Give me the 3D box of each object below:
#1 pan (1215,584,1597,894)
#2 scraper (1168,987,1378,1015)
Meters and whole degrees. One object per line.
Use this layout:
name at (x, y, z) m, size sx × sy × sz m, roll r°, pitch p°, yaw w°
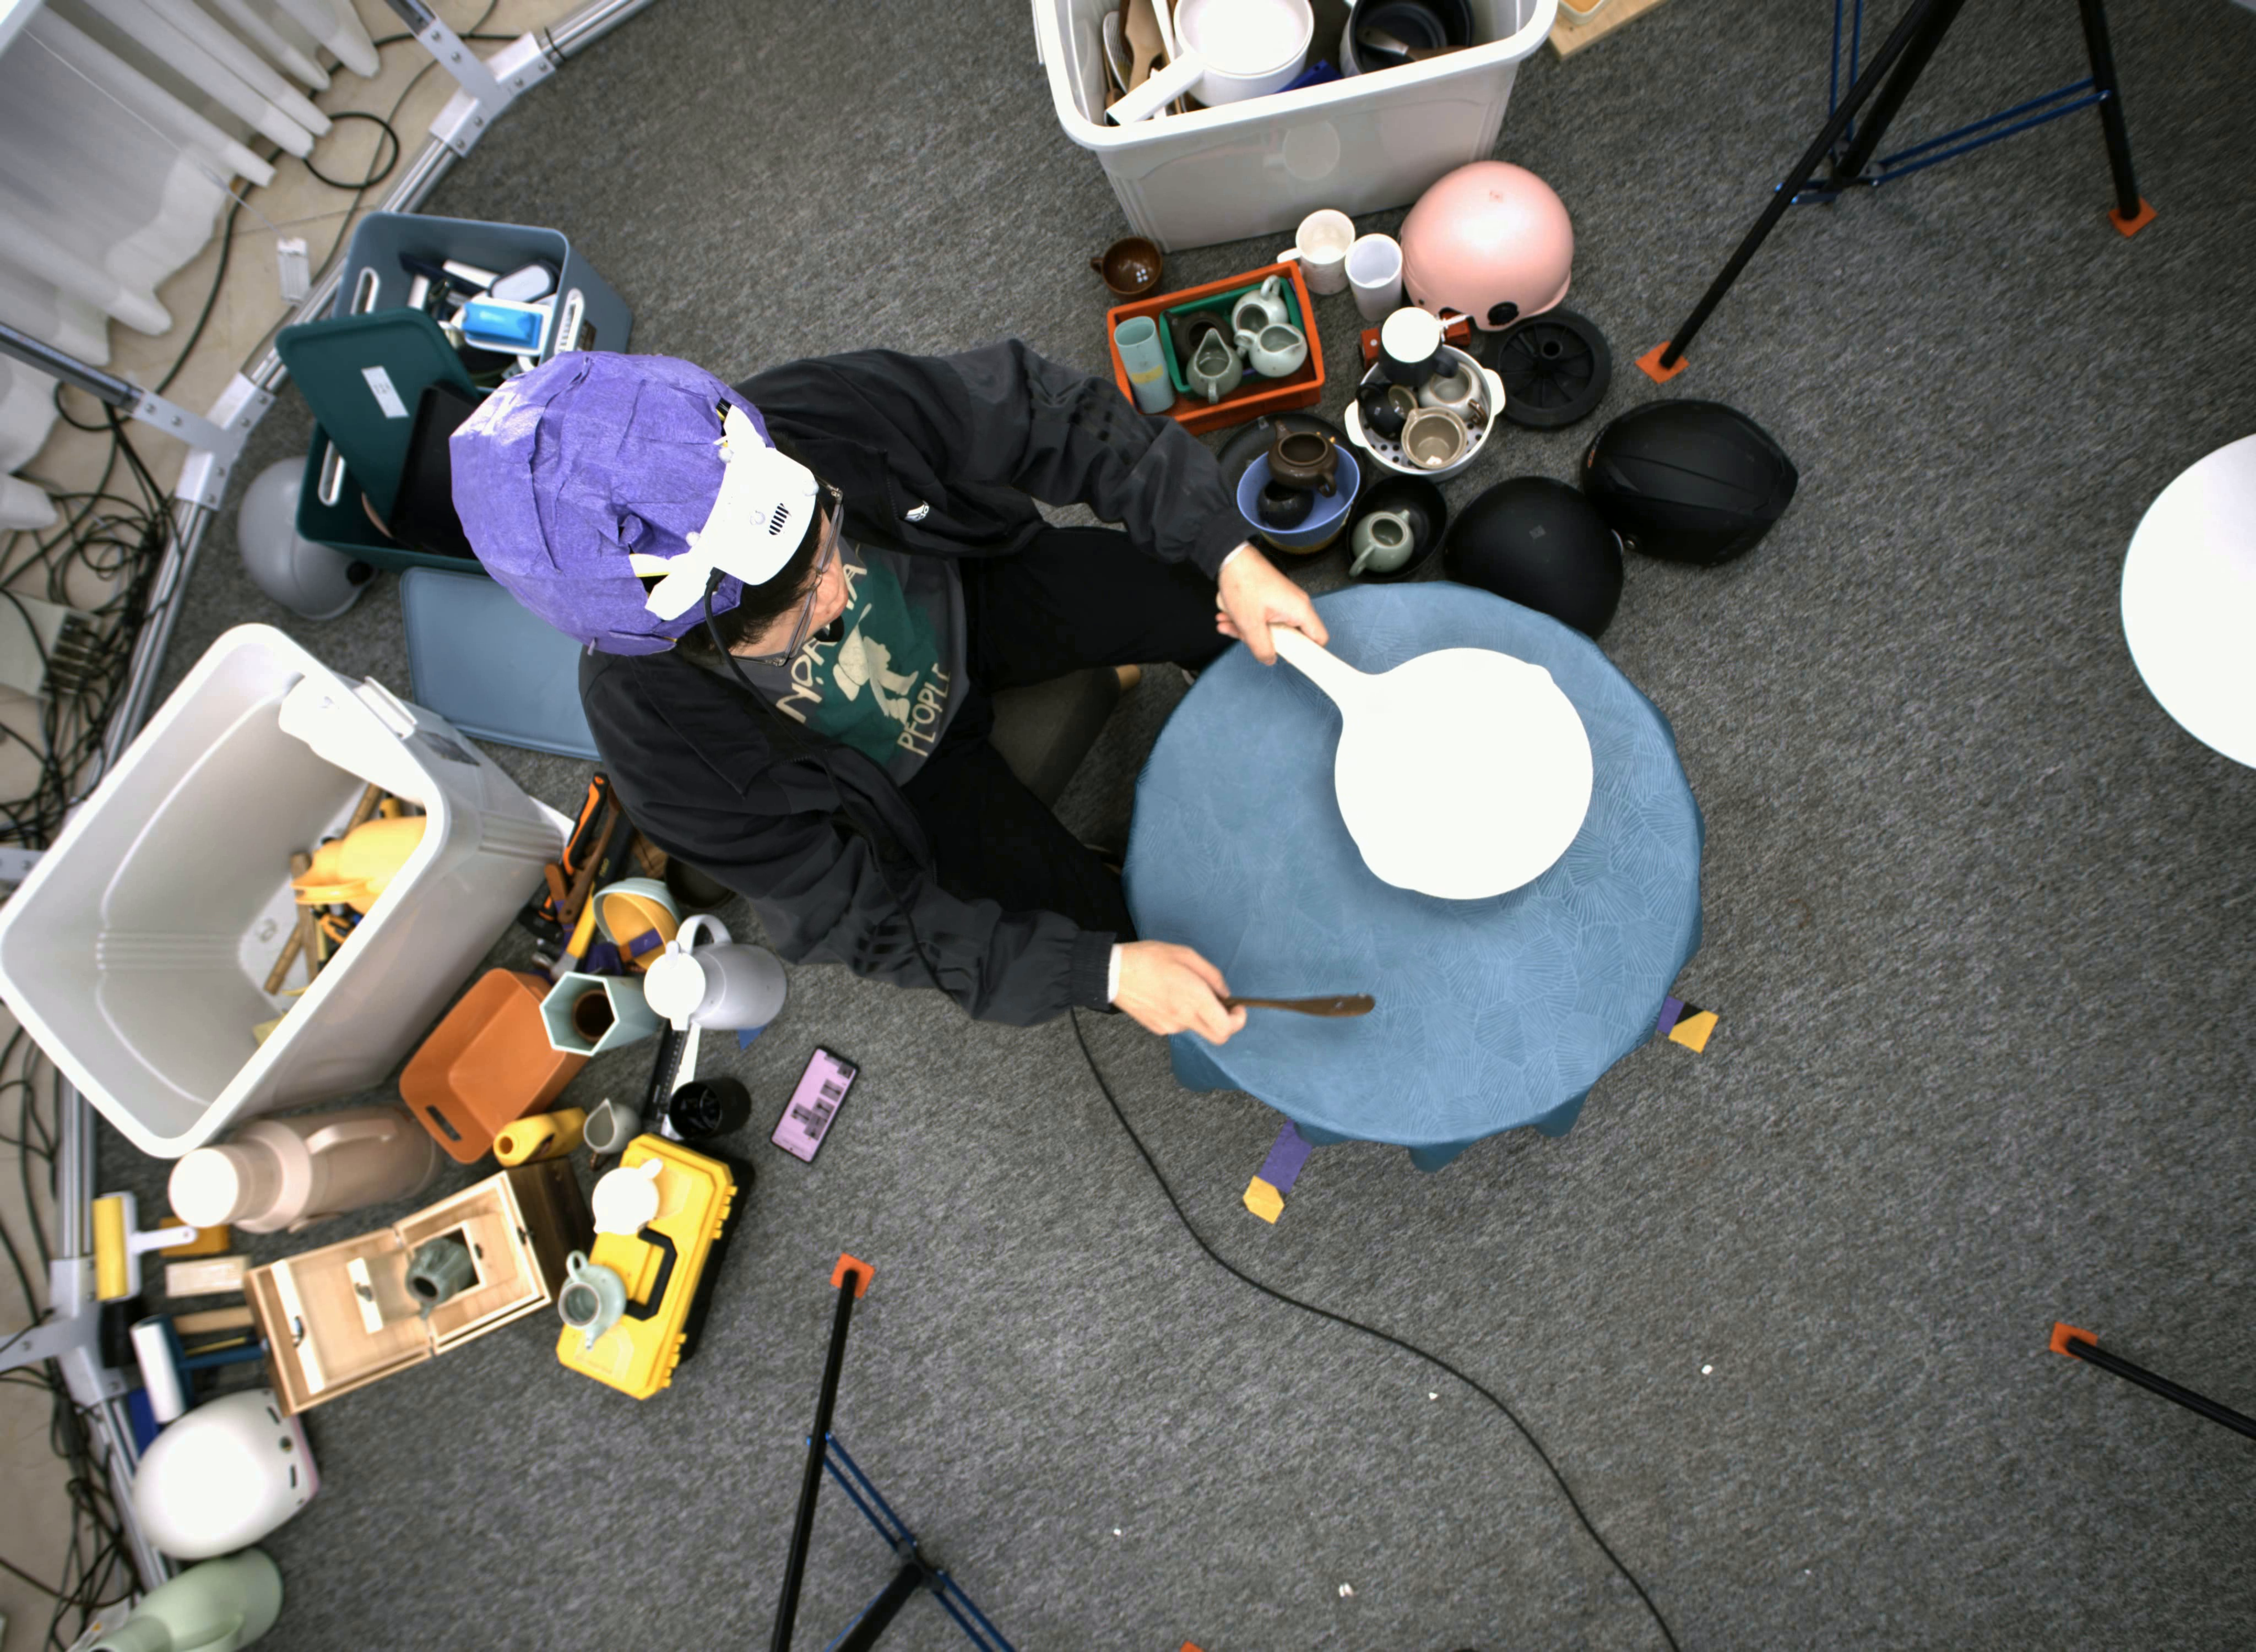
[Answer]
pan at (0.273, -0.112, 1.415) m, size 0.433 × 0.101 × 0.265 m, roll 39°, pitch 98°, yaw 12°
scraper at (0.146, 0.175, 1.401) m, size 0.212 × 0.075 × 0.011 m, roll 0°, pitch 101°, yaw 11°
